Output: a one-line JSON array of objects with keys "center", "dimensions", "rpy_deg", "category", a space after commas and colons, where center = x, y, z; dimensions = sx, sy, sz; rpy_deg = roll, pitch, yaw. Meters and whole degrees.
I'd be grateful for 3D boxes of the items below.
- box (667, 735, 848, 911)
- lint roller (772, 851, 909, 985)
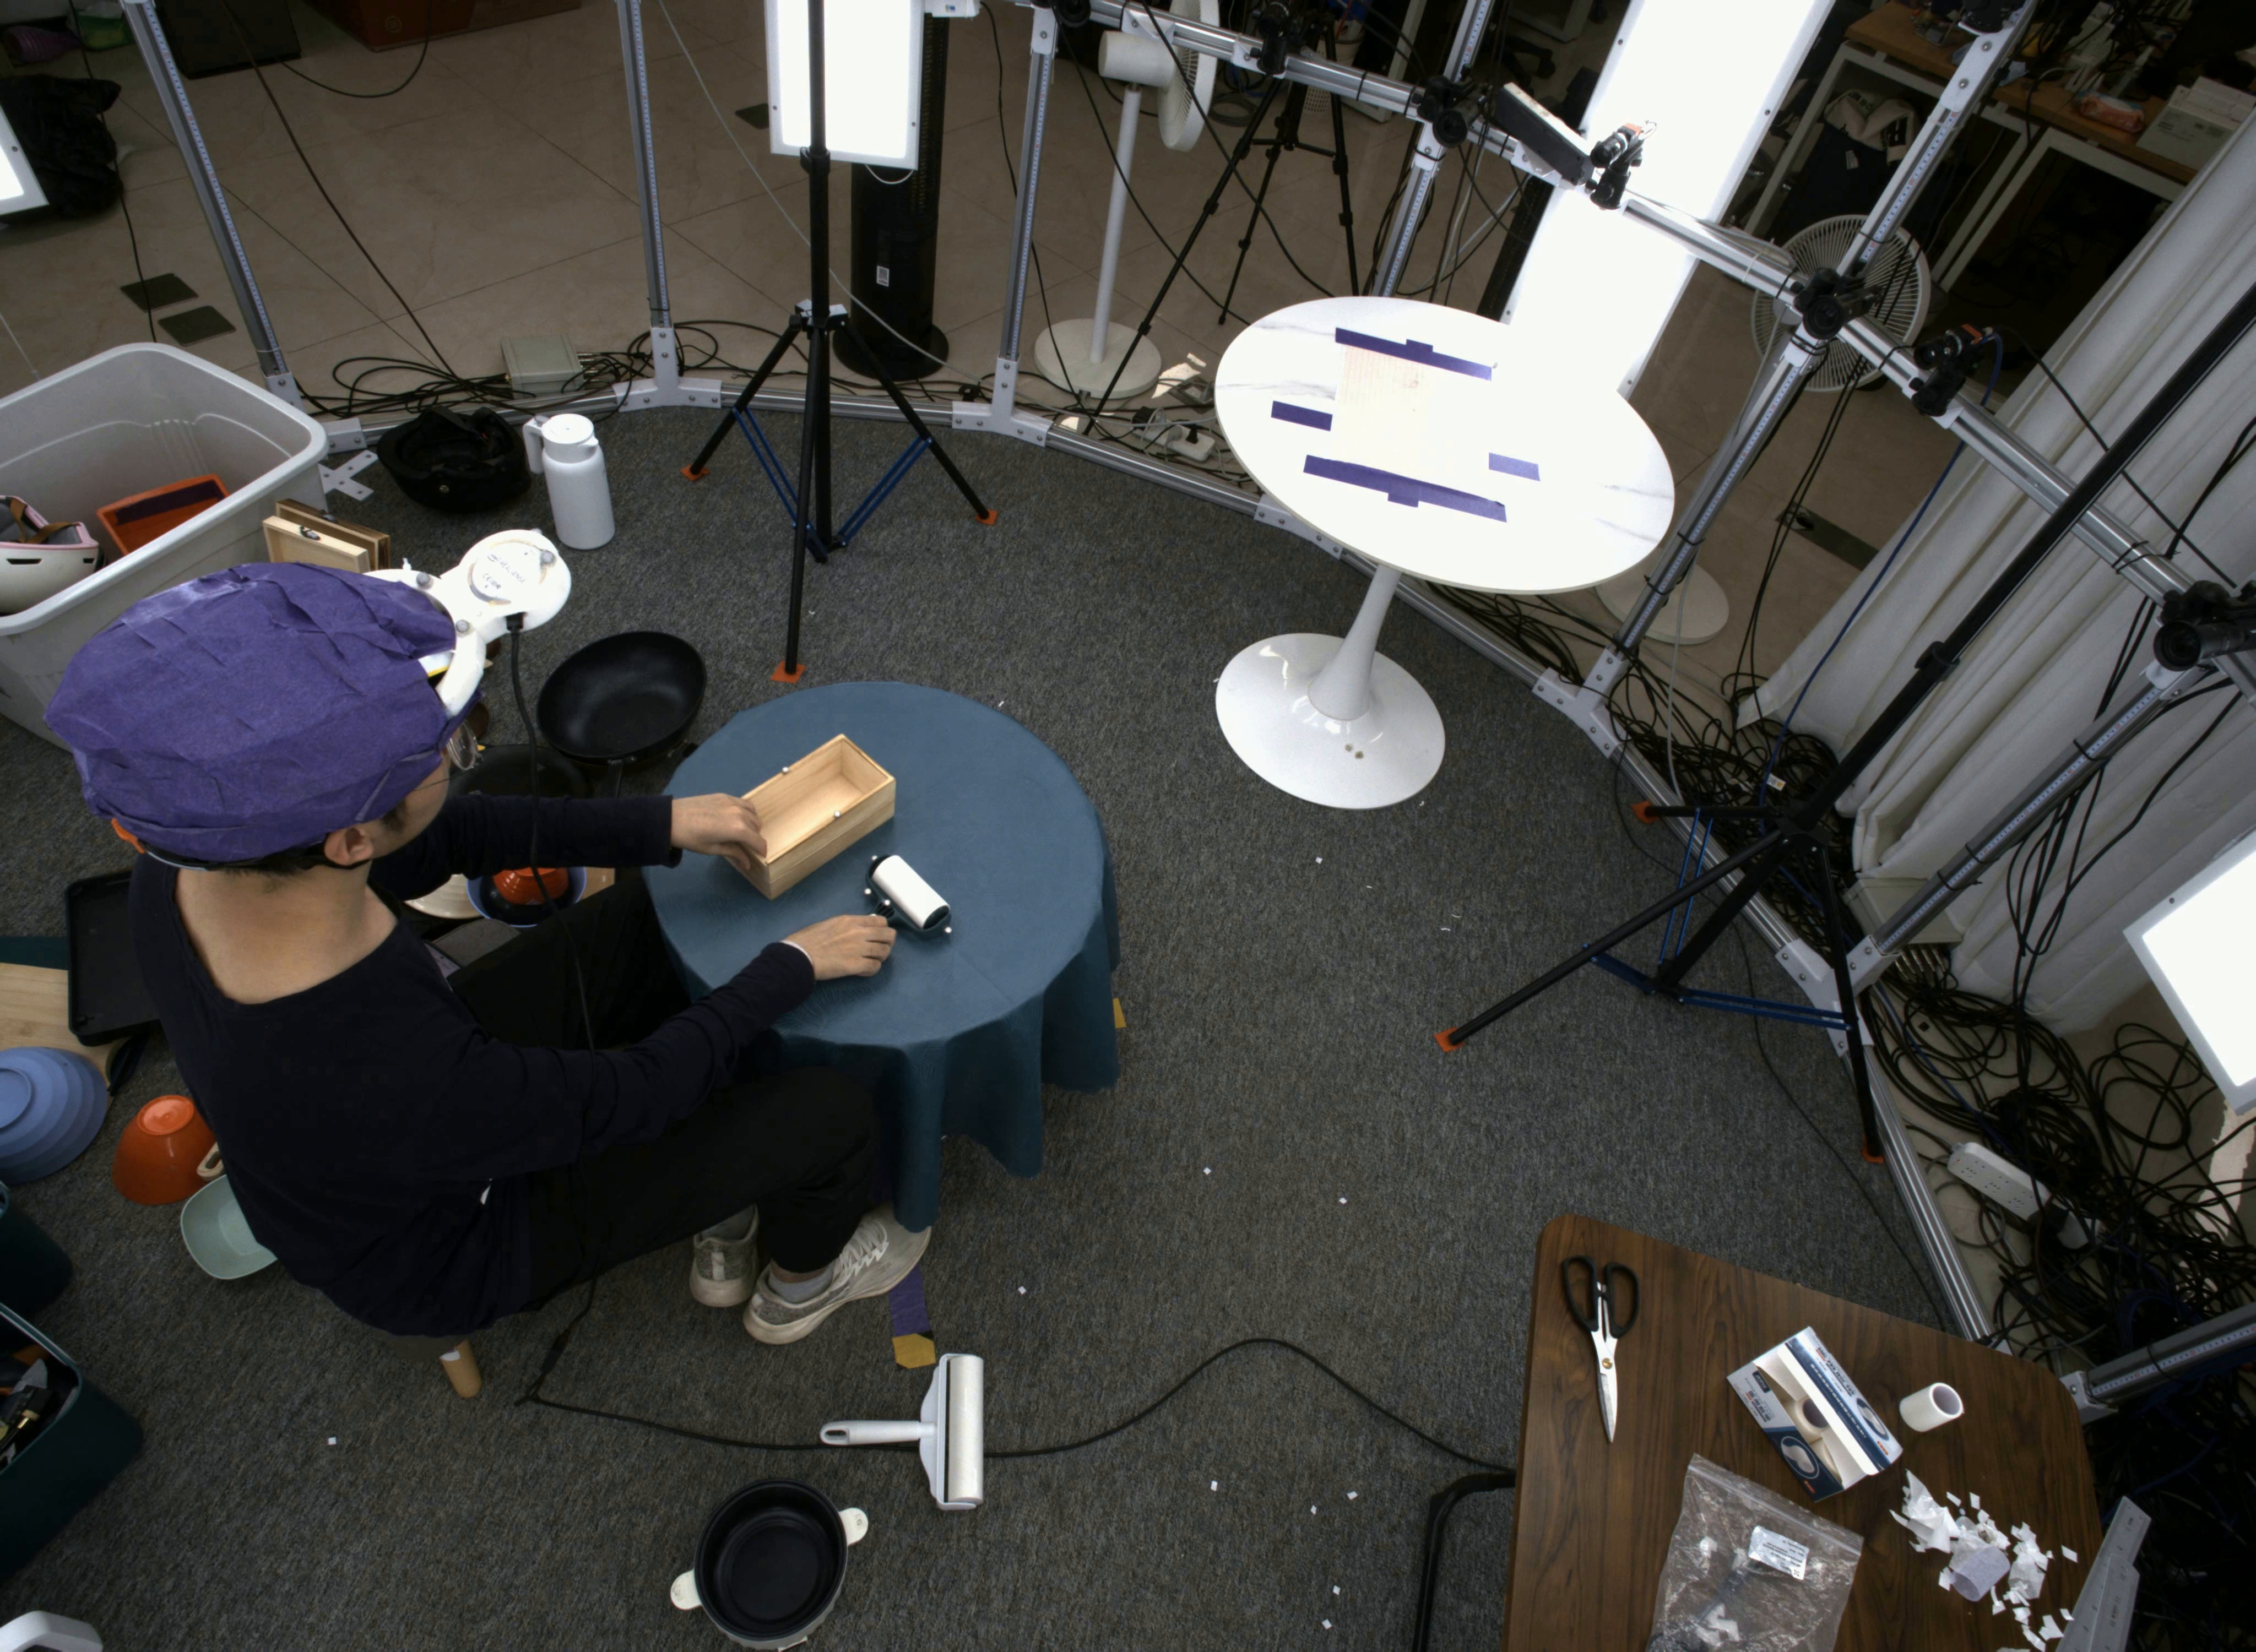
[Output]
[{"center": [-0.477, -0.008, 1.676], "dimensions": [0.105, 0.082, 0.211], "rpy_deg": [37, 56, 14], "category": "box"}, {"center": [-0.377, 0.126, 1.629], "dimensions": [0.131, 0.049, 0.180], "rpy_deg": [40, 60, 16], "category": "lint roller"}]
